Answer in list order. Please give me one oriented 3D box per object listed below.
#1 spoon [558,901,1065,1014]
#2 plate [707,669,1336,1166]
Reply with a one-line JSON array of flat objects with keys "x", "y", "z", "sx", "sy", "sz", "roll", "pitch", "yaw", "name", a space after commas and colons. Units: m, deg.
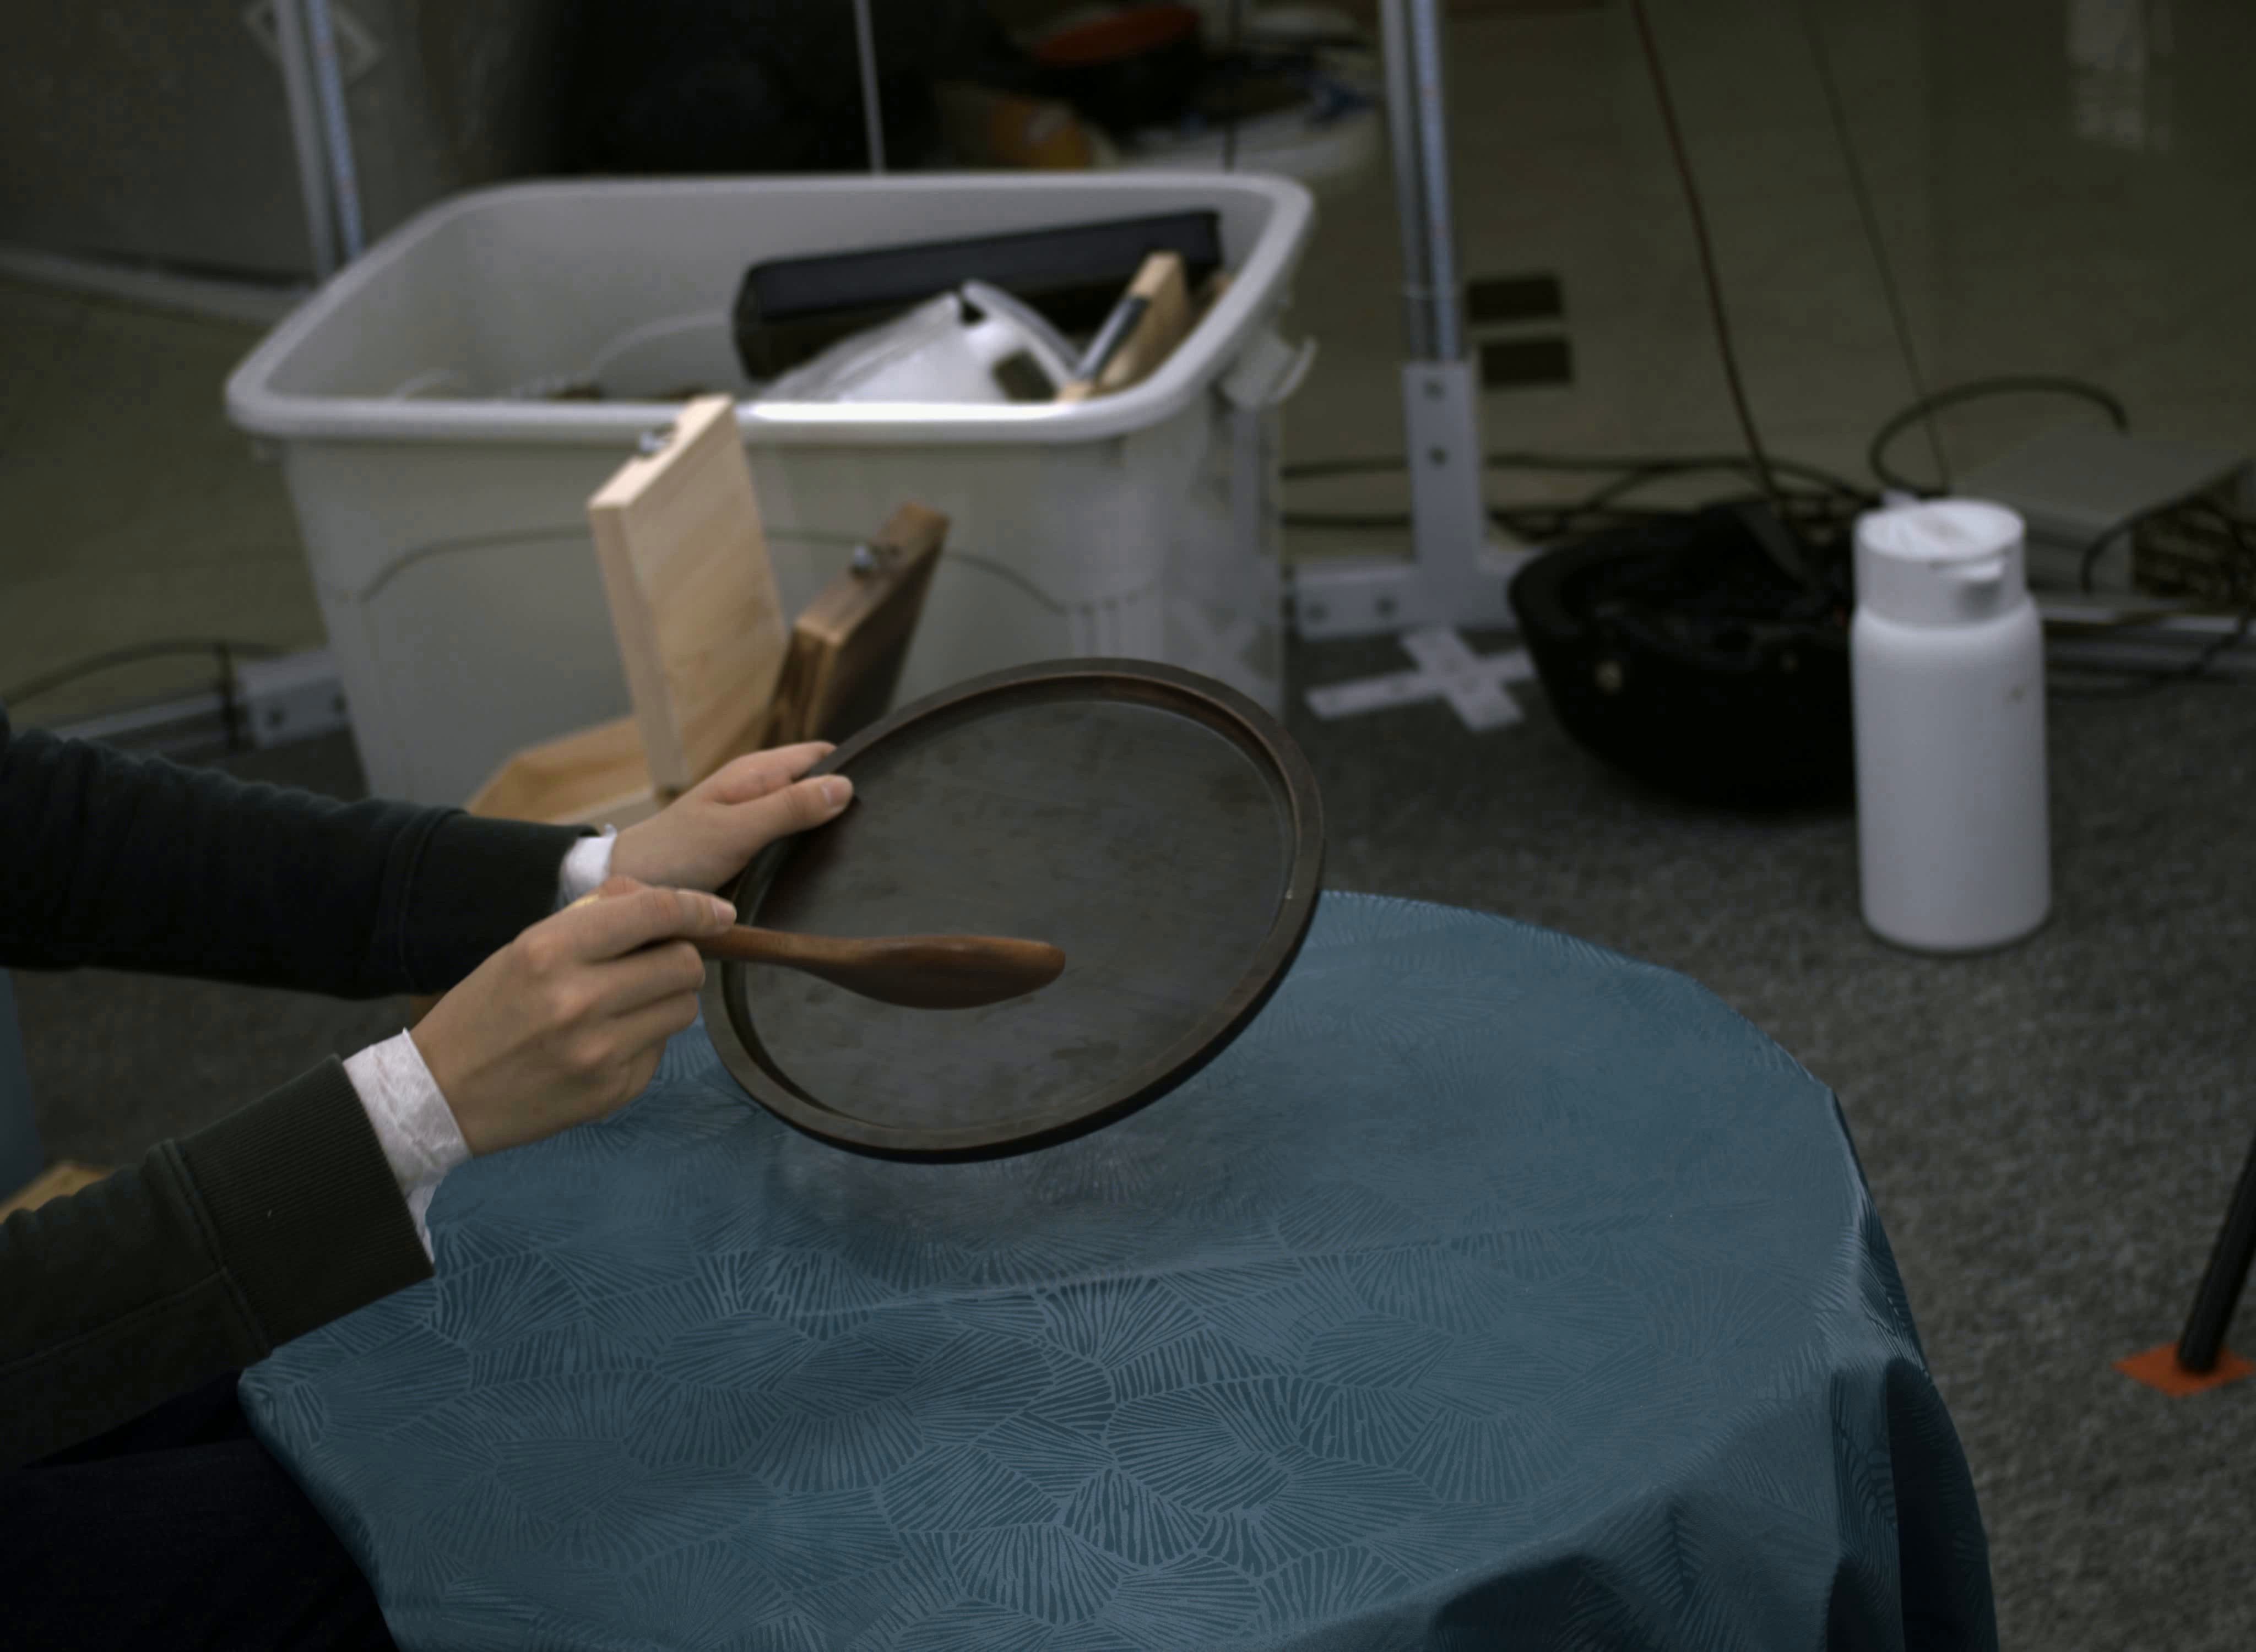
[{"x": -0.110, "y": 0.047, "z": 1.972, "sx": 0.216, "sy": 0.017, "sz": 0.075, "roll": 10, "pitch": -16, "yaw": -43, "name": "spoon"}, {"x": -0.041, "y": 0.034, "z": 2.176, "sx": 0.254, "sy": 0.029, "sz": 0.250, "roll": -11, "pitch": 44, "yaw": 11, "name": "plate"}]
